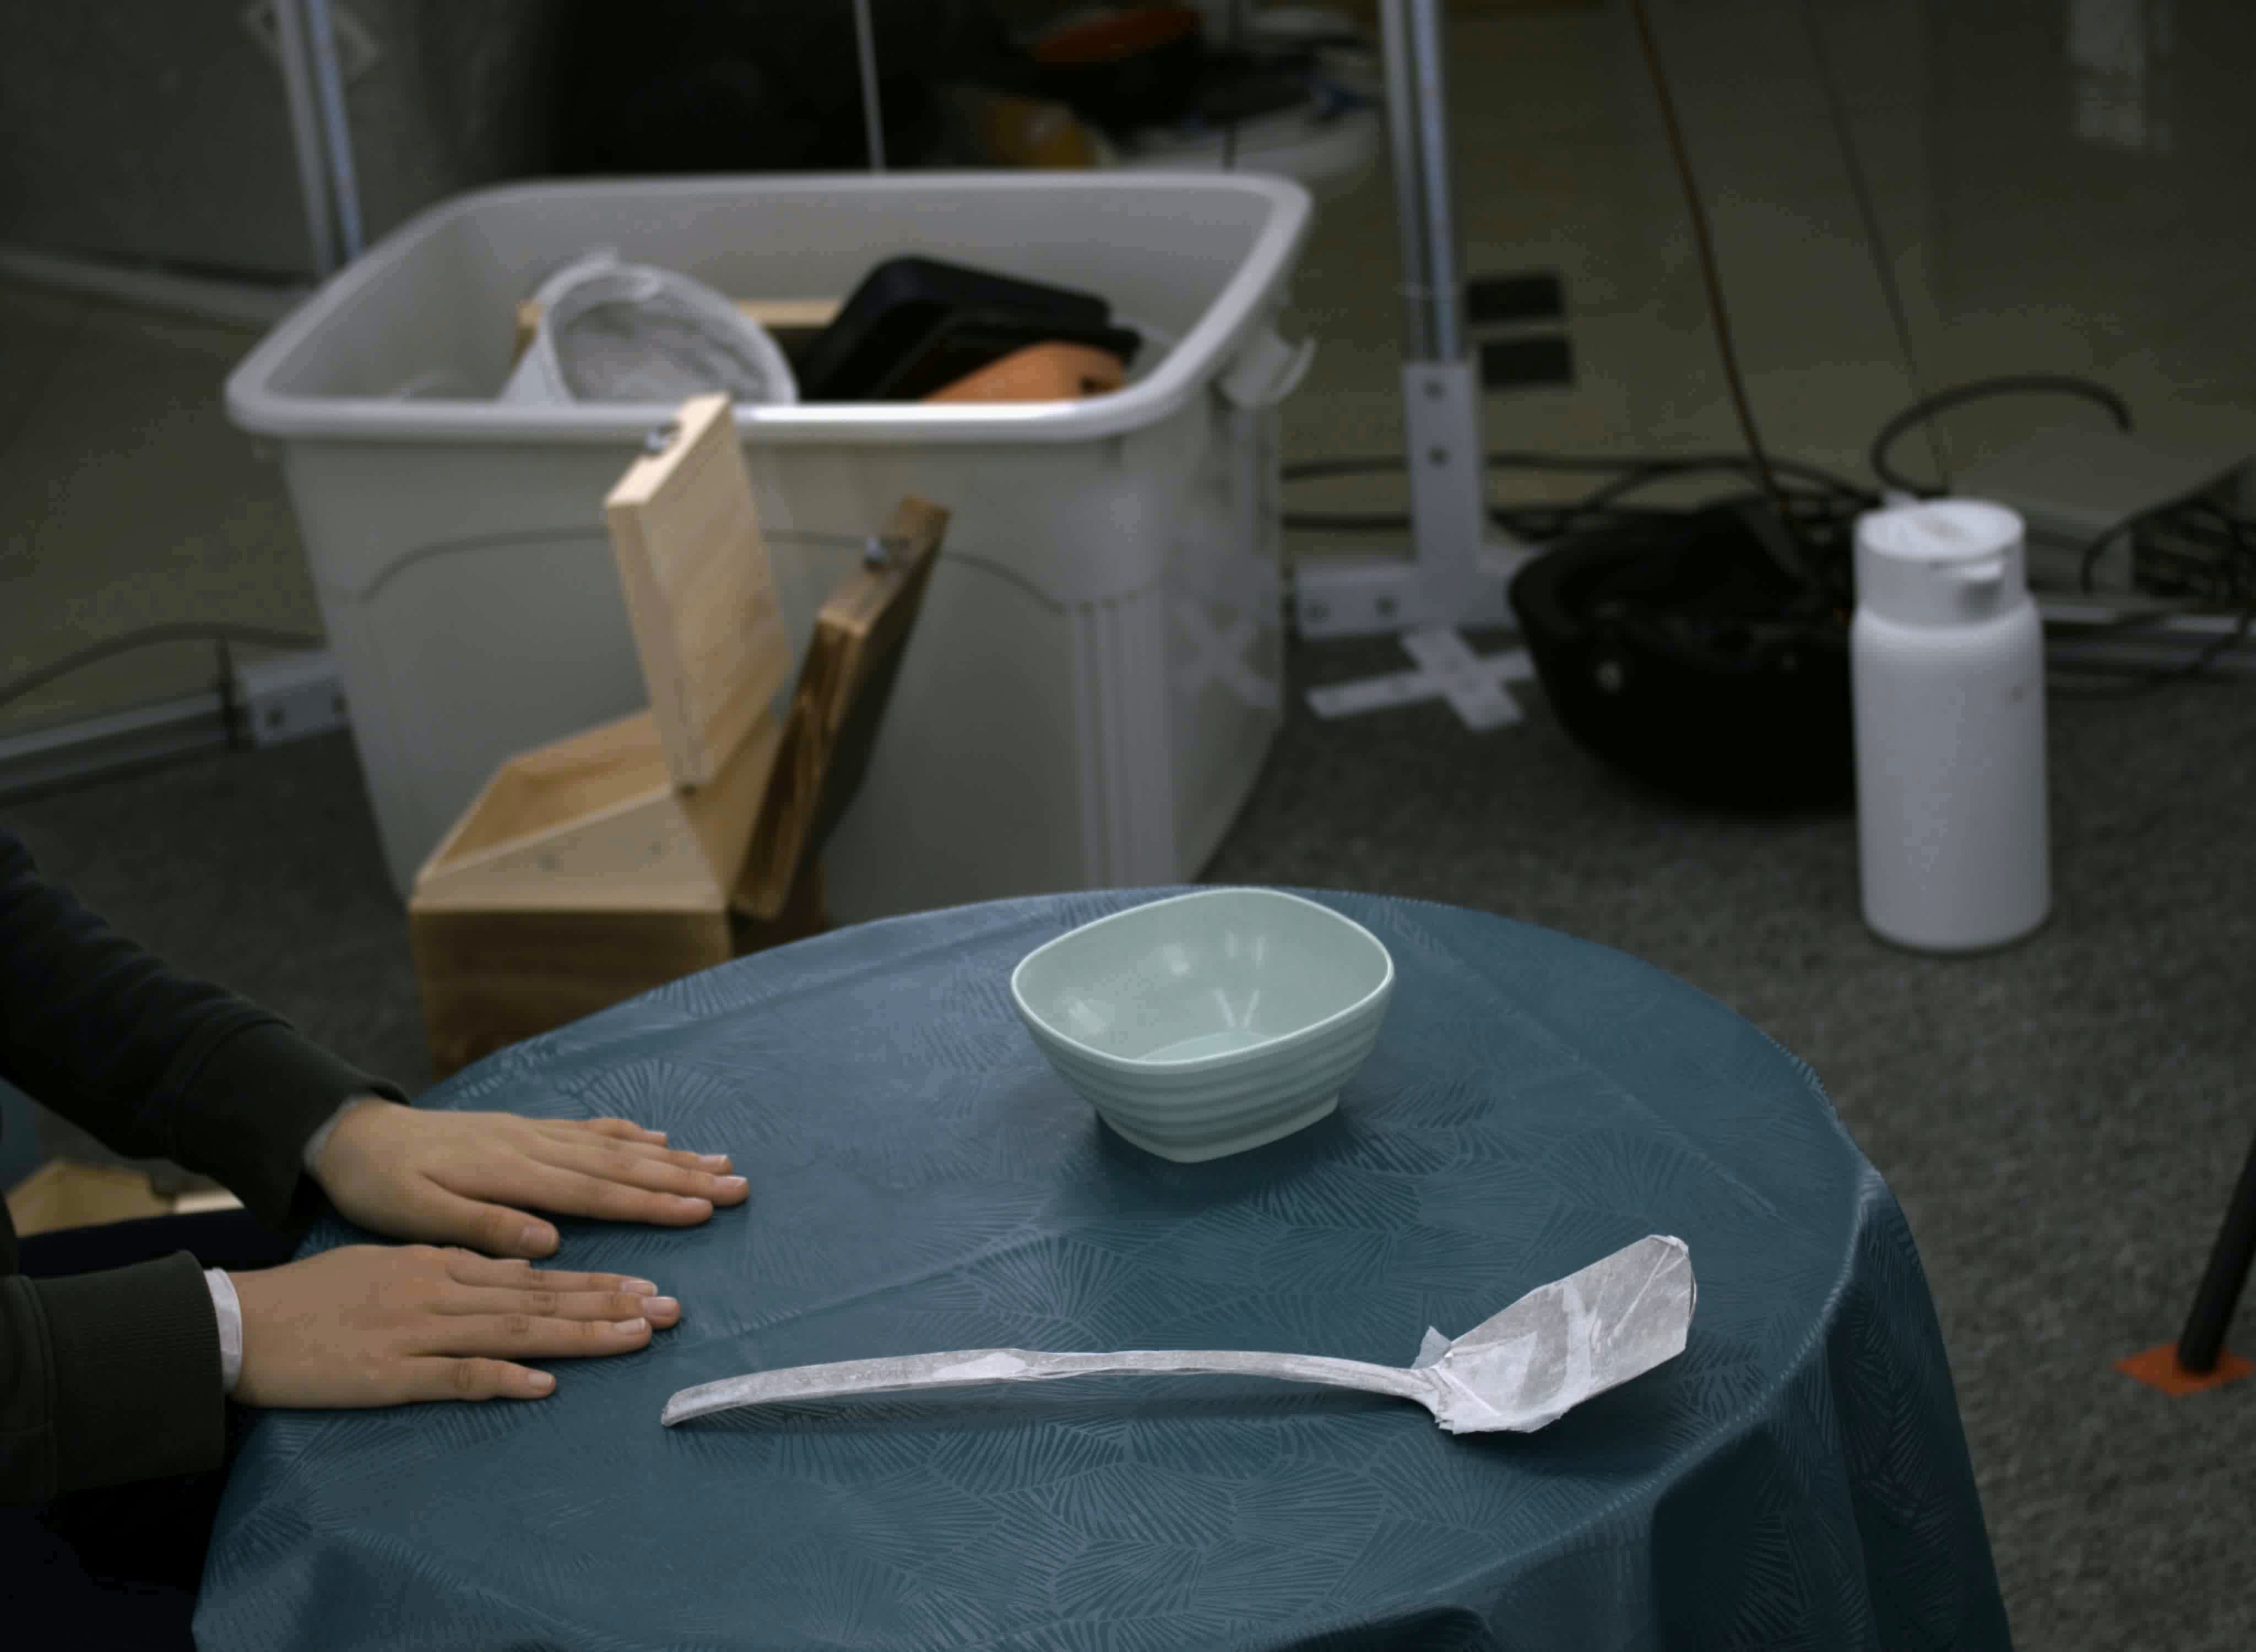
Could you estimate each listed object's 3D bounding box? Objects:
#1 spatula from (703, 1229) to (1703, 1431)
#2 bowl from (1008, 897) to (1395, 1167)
[{"bbox_3d":[0.021,0.185,2.003,0.364,0.045,0.097,-2,27,10],"label":"spatula"},{"bbox_3d":[0.029,0.085,2.197,0.151,0.059,0.149,-3,25,1],"label":"bowl"}]
